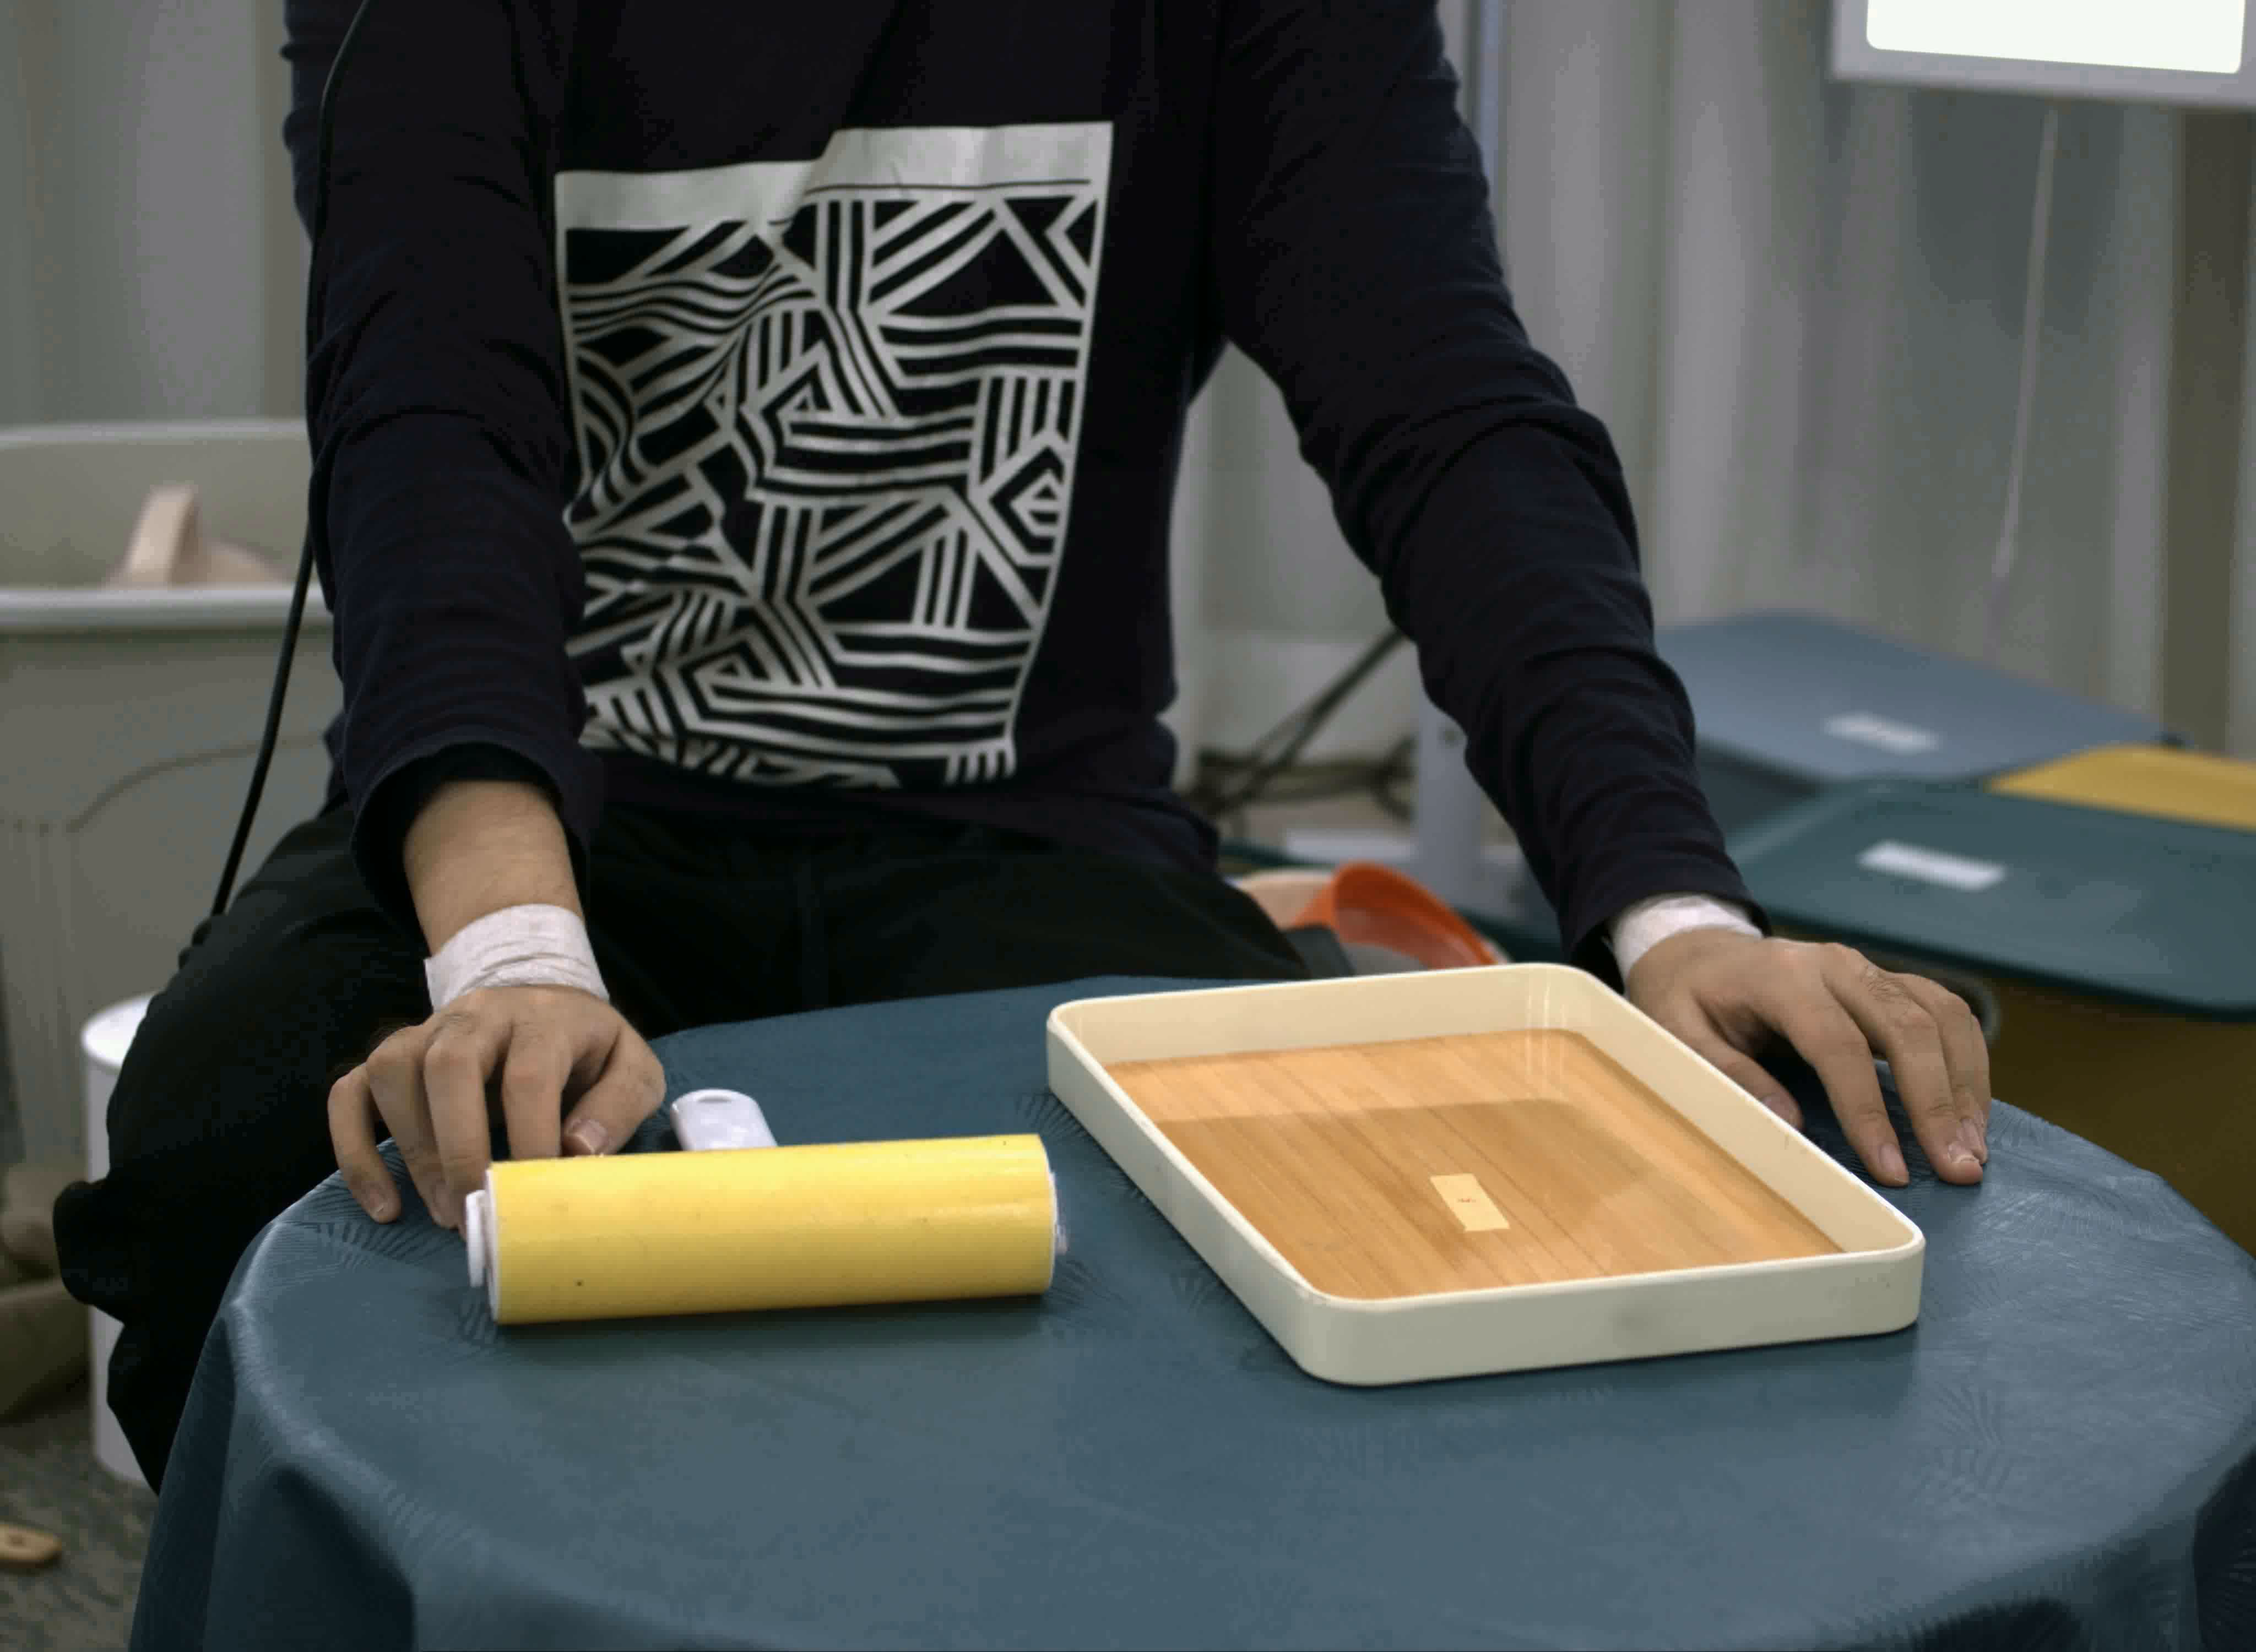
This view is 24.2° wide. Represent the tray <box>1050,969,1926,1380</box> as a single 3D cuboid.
[{"bbox_3d":[0.102,0.102,1.618,0.192,0.027,0.297,-3,16,-16],"label":"tray"}]

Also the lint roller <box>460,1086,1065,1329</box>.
[{"bbox_3d":[-0.119,0.098,1.584,0.174,0.052,0.190,-2,19,-12],"label":"lint roller"}]
